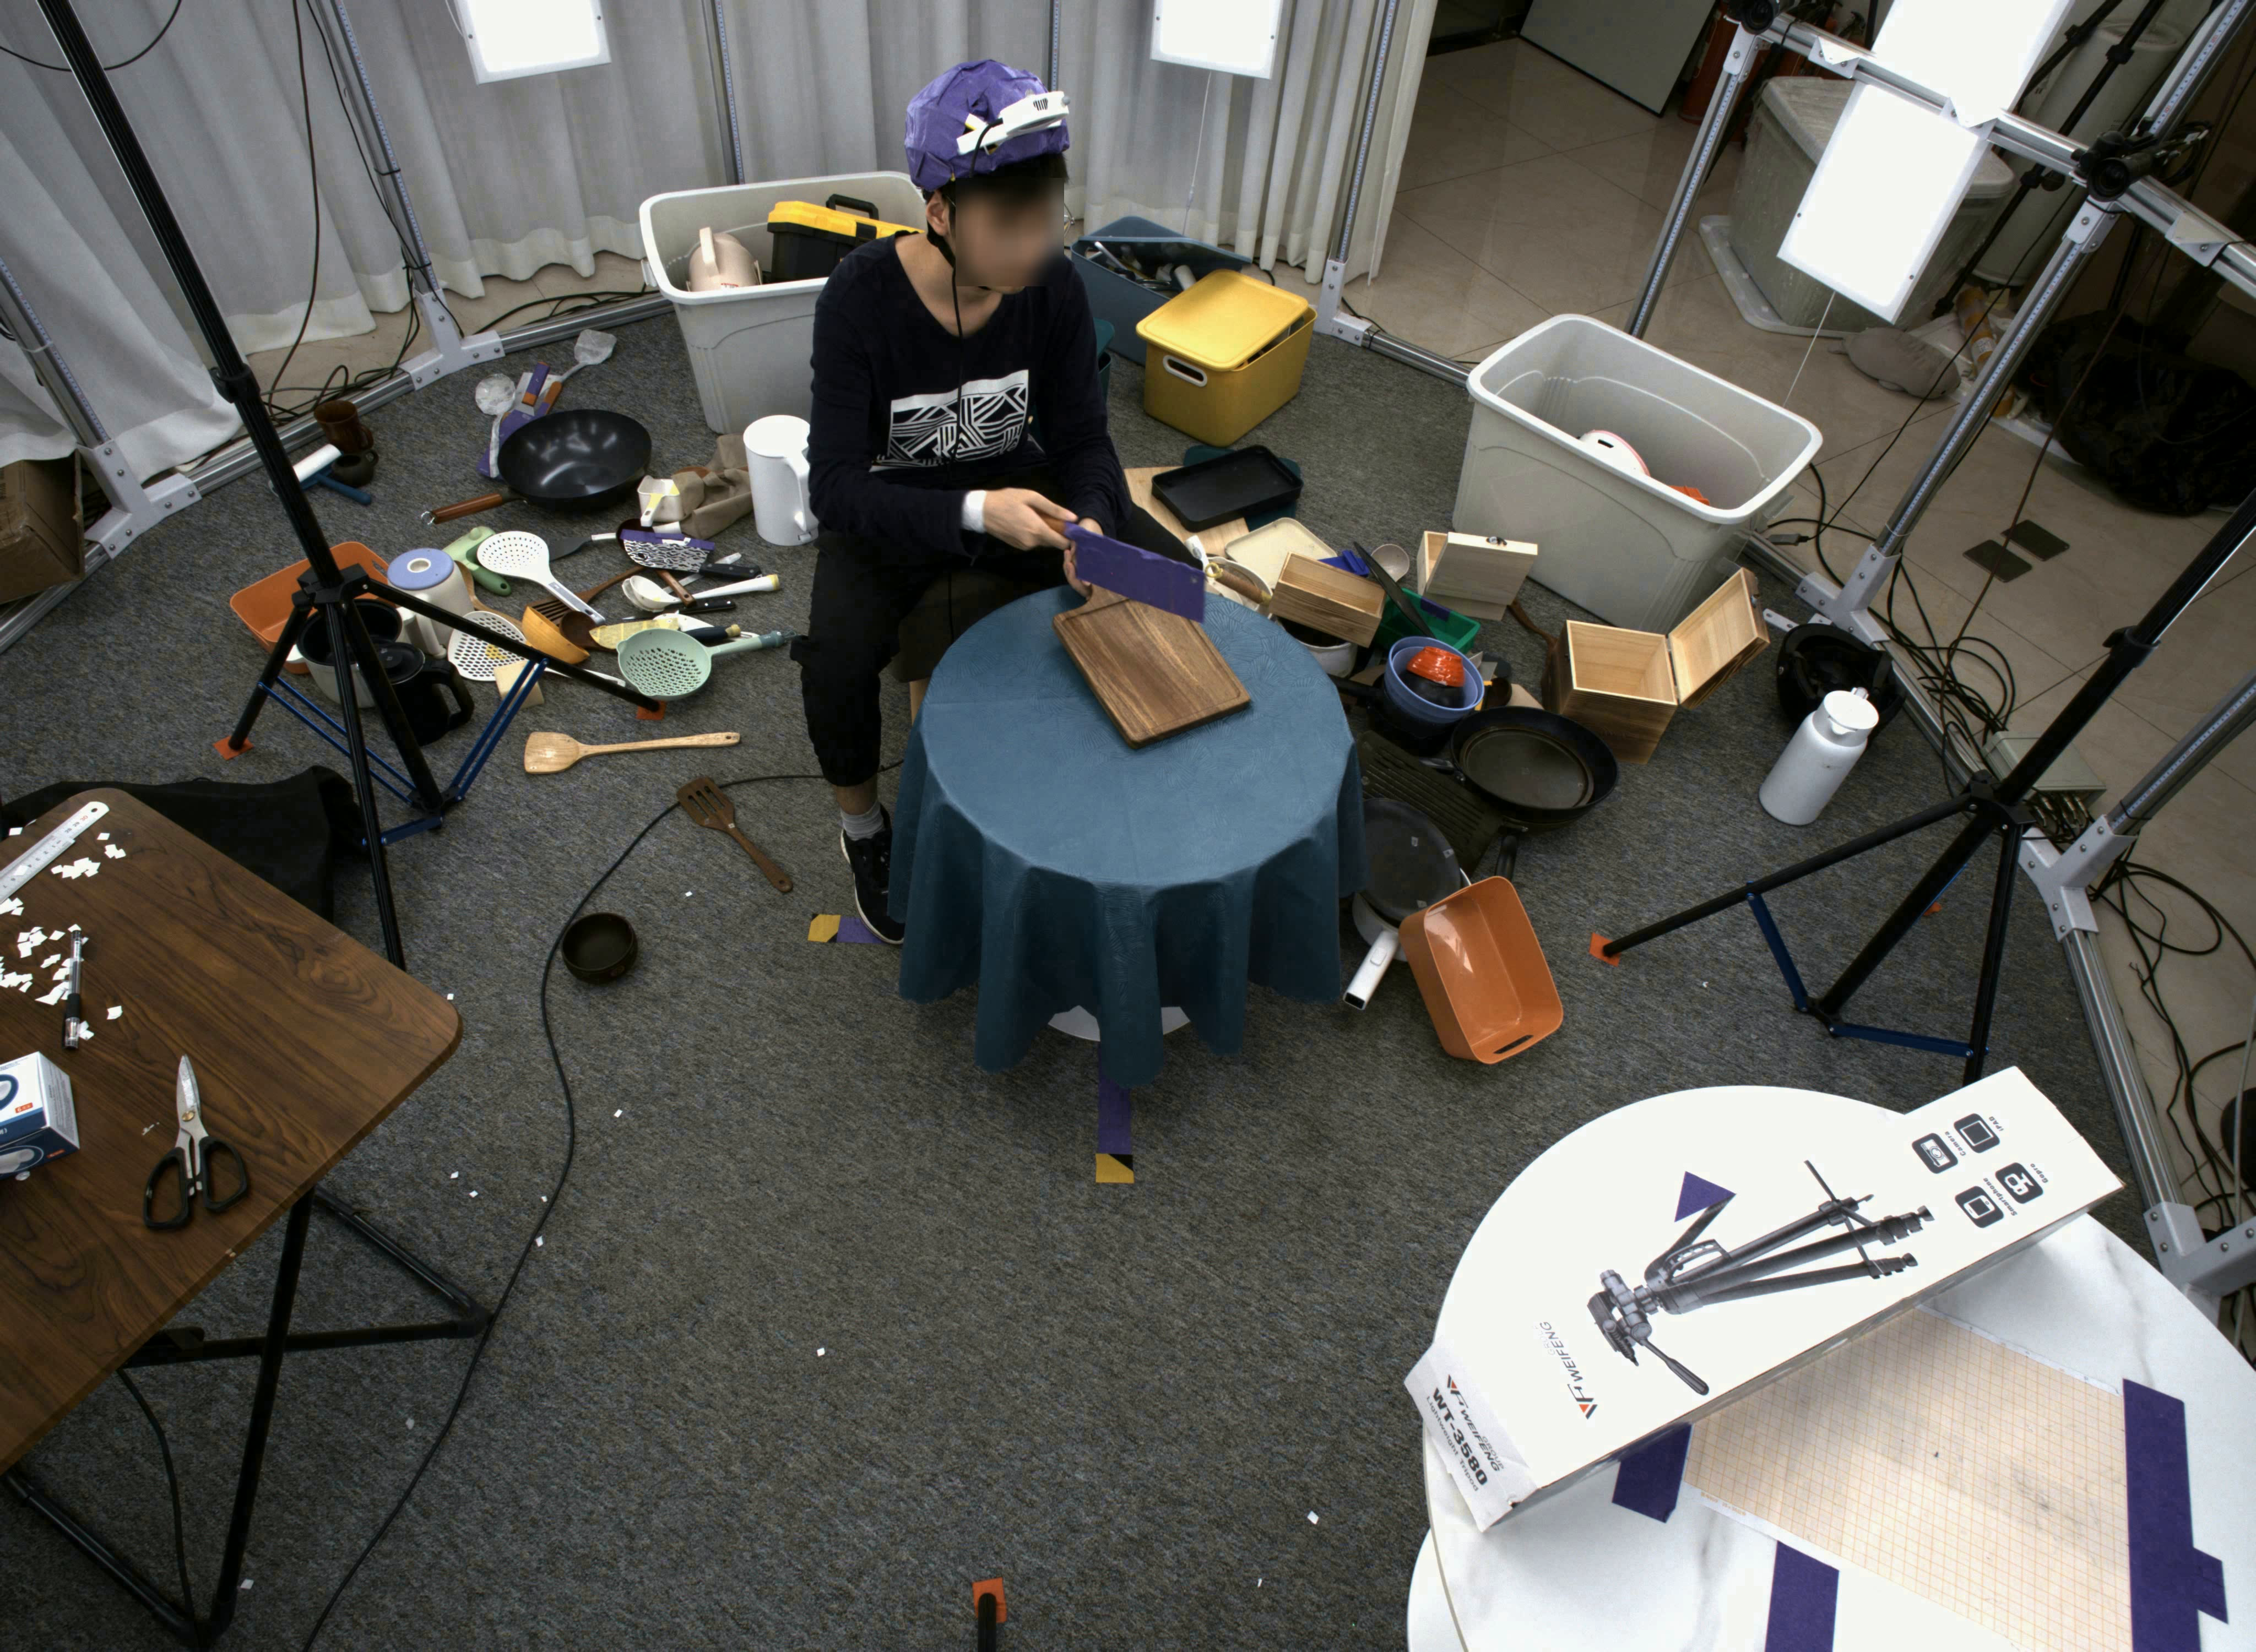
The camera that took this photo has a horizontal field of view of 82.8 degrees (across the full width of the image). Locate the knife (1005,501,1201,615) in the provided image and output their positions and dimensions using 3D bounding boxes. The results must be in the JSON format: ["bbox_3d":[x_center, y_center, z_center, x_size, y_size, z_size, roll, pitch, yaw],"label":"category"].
[{"bbox_3d":[-0.037,-0.370,1.800,0.318,0.101,0.032,25,49,24],"label":"knife"}]

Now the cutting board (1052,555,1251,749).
[{"bbox_3d":[0.009,-0.275,1.866,0.201,0.023,0.359,-21,60,-20],"label":"cutting board"}]
